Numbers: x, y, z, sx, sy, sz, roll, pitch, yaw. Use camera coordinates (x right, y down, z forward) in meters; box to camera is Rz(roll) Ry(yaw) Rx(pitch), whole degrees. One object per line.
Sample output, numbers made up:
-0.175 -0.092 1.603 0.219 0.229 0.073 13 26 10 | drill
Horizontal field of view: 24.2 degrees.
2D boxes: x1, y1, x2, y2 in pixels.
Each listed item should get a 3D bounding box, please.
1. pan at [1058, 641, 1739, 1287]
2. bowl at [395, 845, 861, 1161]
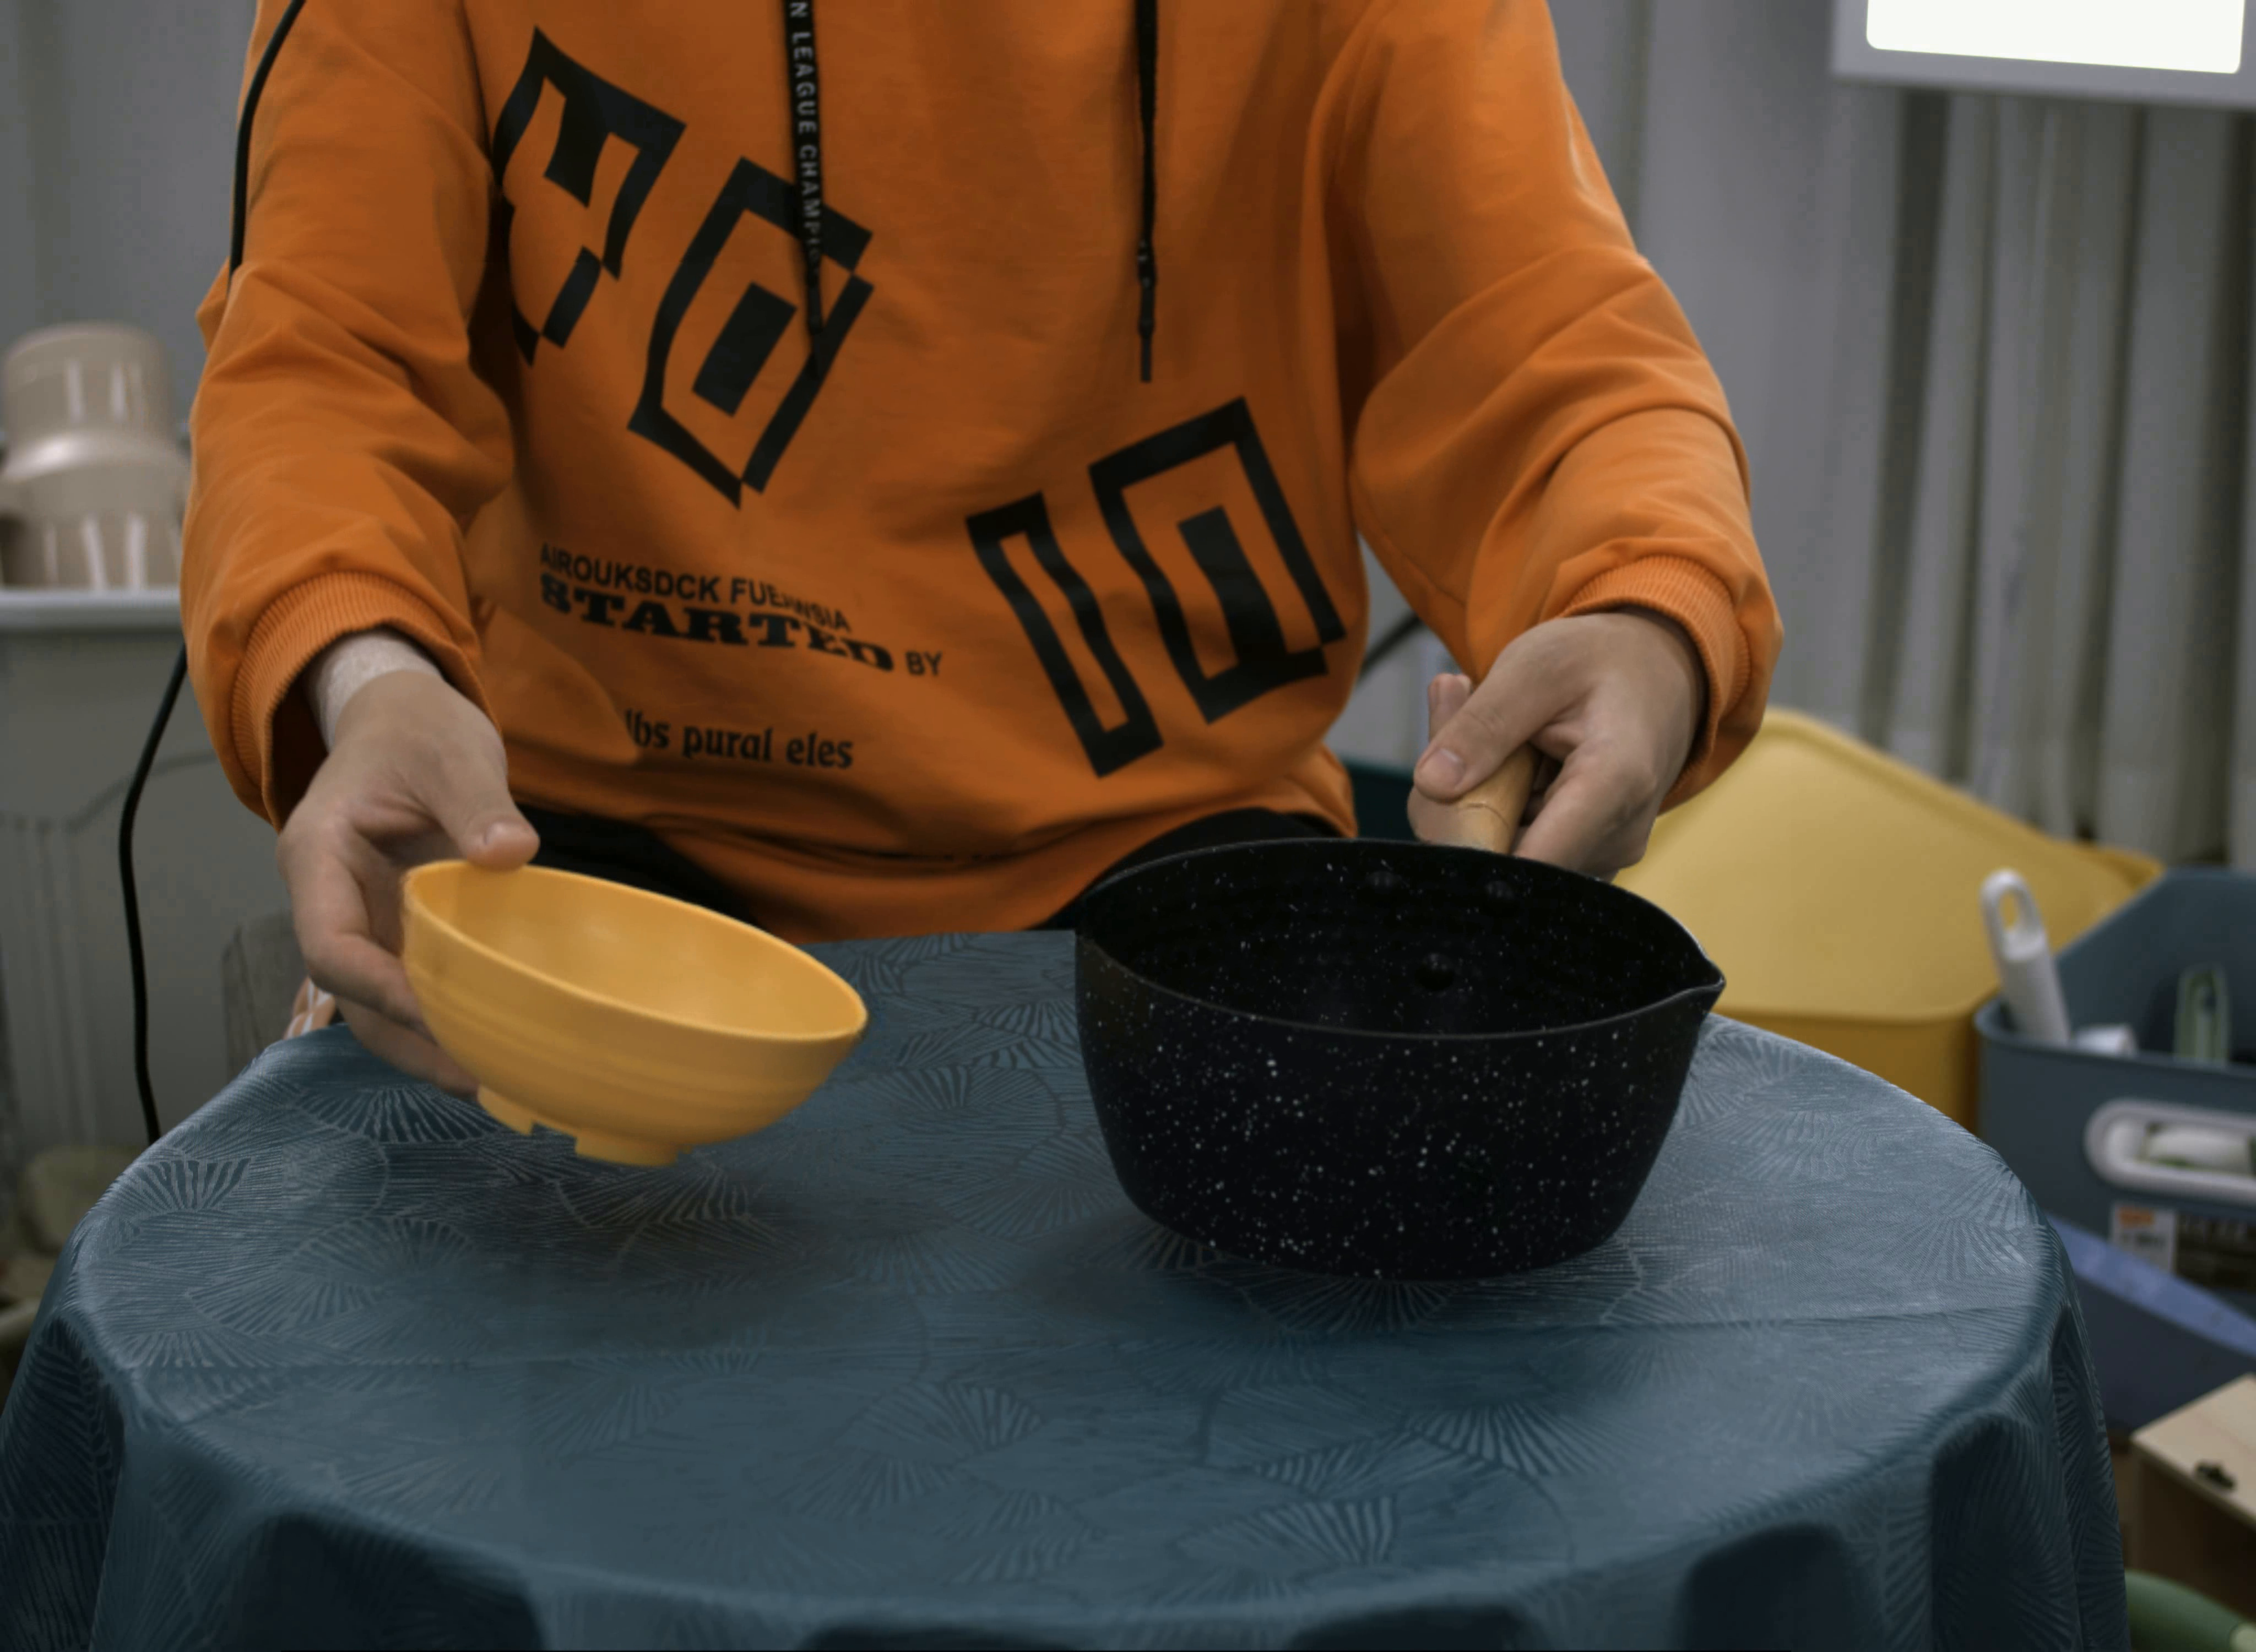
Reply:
0.094 0.037 1.633 0.206 0.109 0.342 6 19 11 | pan
-0.157 0.060 1.570 0.145 0.060 0.145 19 10 -3 | bowl
